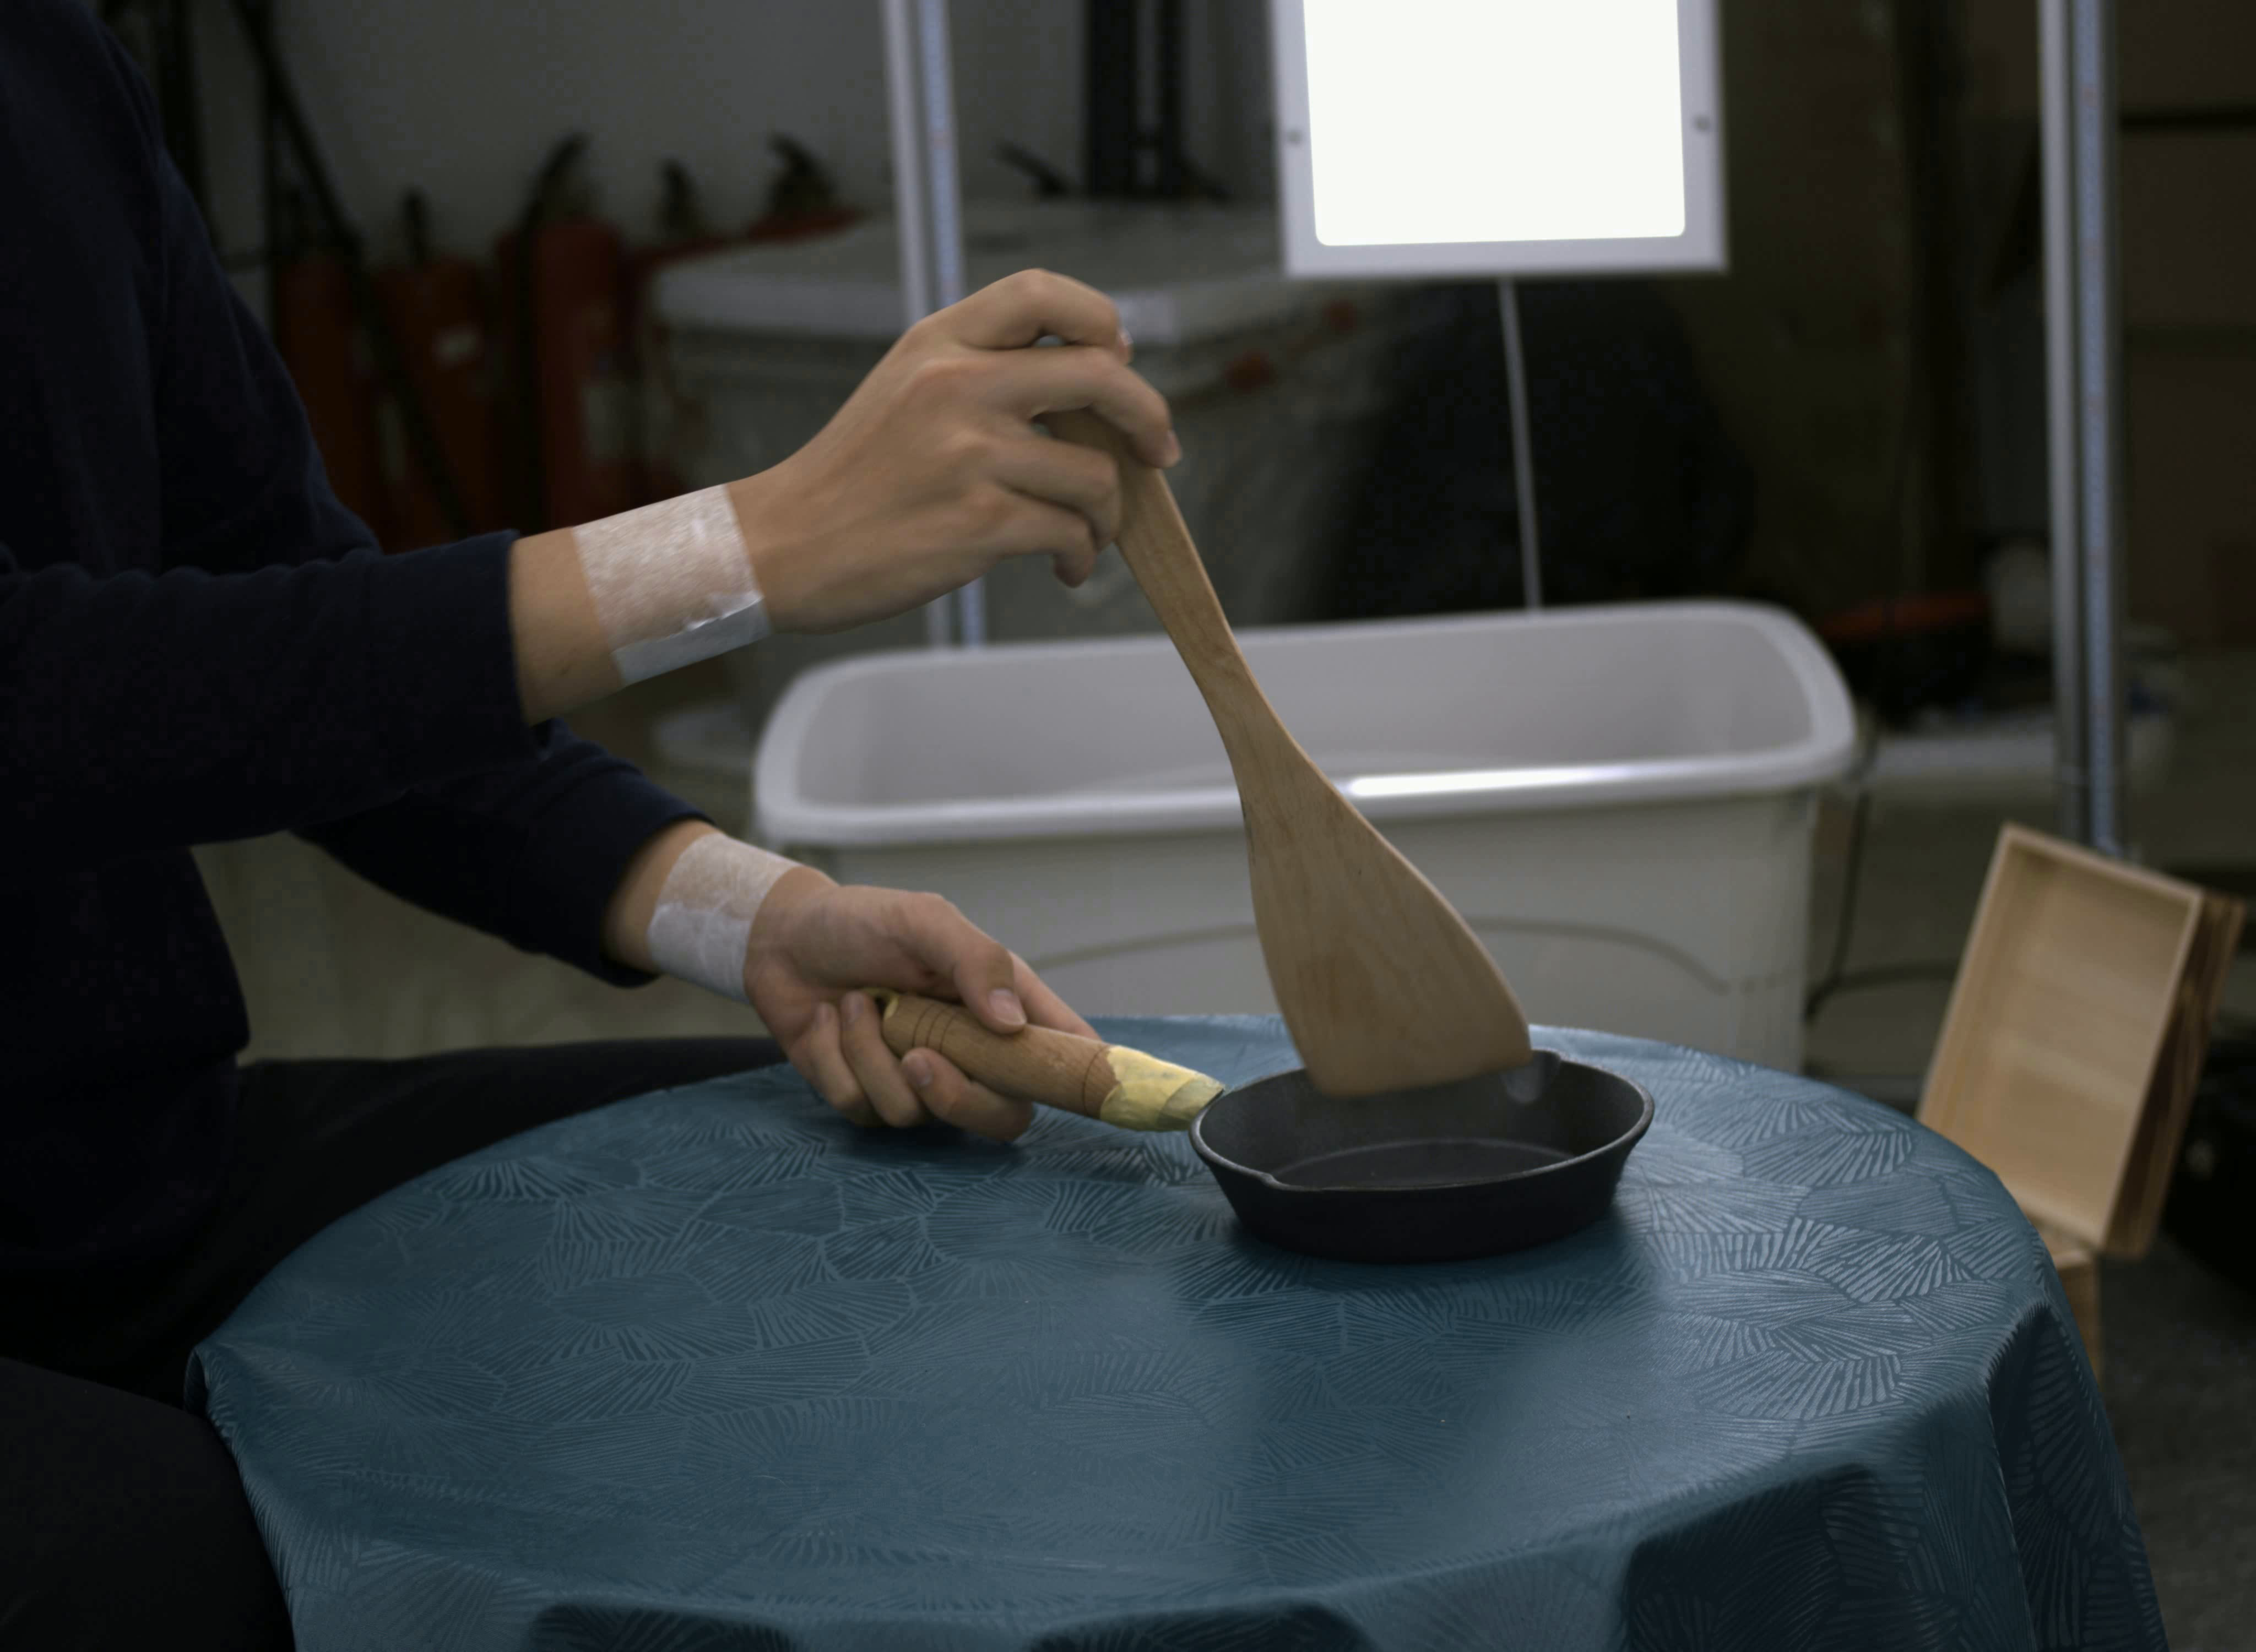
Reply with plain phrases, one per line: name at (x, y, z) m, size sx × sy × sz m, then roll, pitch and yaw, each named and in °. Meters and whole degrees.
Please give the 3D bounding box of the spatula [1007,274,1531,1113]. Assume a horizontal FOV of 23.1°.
spatula at (0.037, -0.038, 1.806) m, size 0.081 × 0.326 × 0.016 m, roll -20°, pitch 21°, yaw 18°

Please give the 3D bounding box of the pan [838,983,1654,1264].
pan at (0.031, 0.097, 1.901) m, size 0.331 × 0.050 × 0.165 m, roll 7°, pitch 18°, yaw 37°
